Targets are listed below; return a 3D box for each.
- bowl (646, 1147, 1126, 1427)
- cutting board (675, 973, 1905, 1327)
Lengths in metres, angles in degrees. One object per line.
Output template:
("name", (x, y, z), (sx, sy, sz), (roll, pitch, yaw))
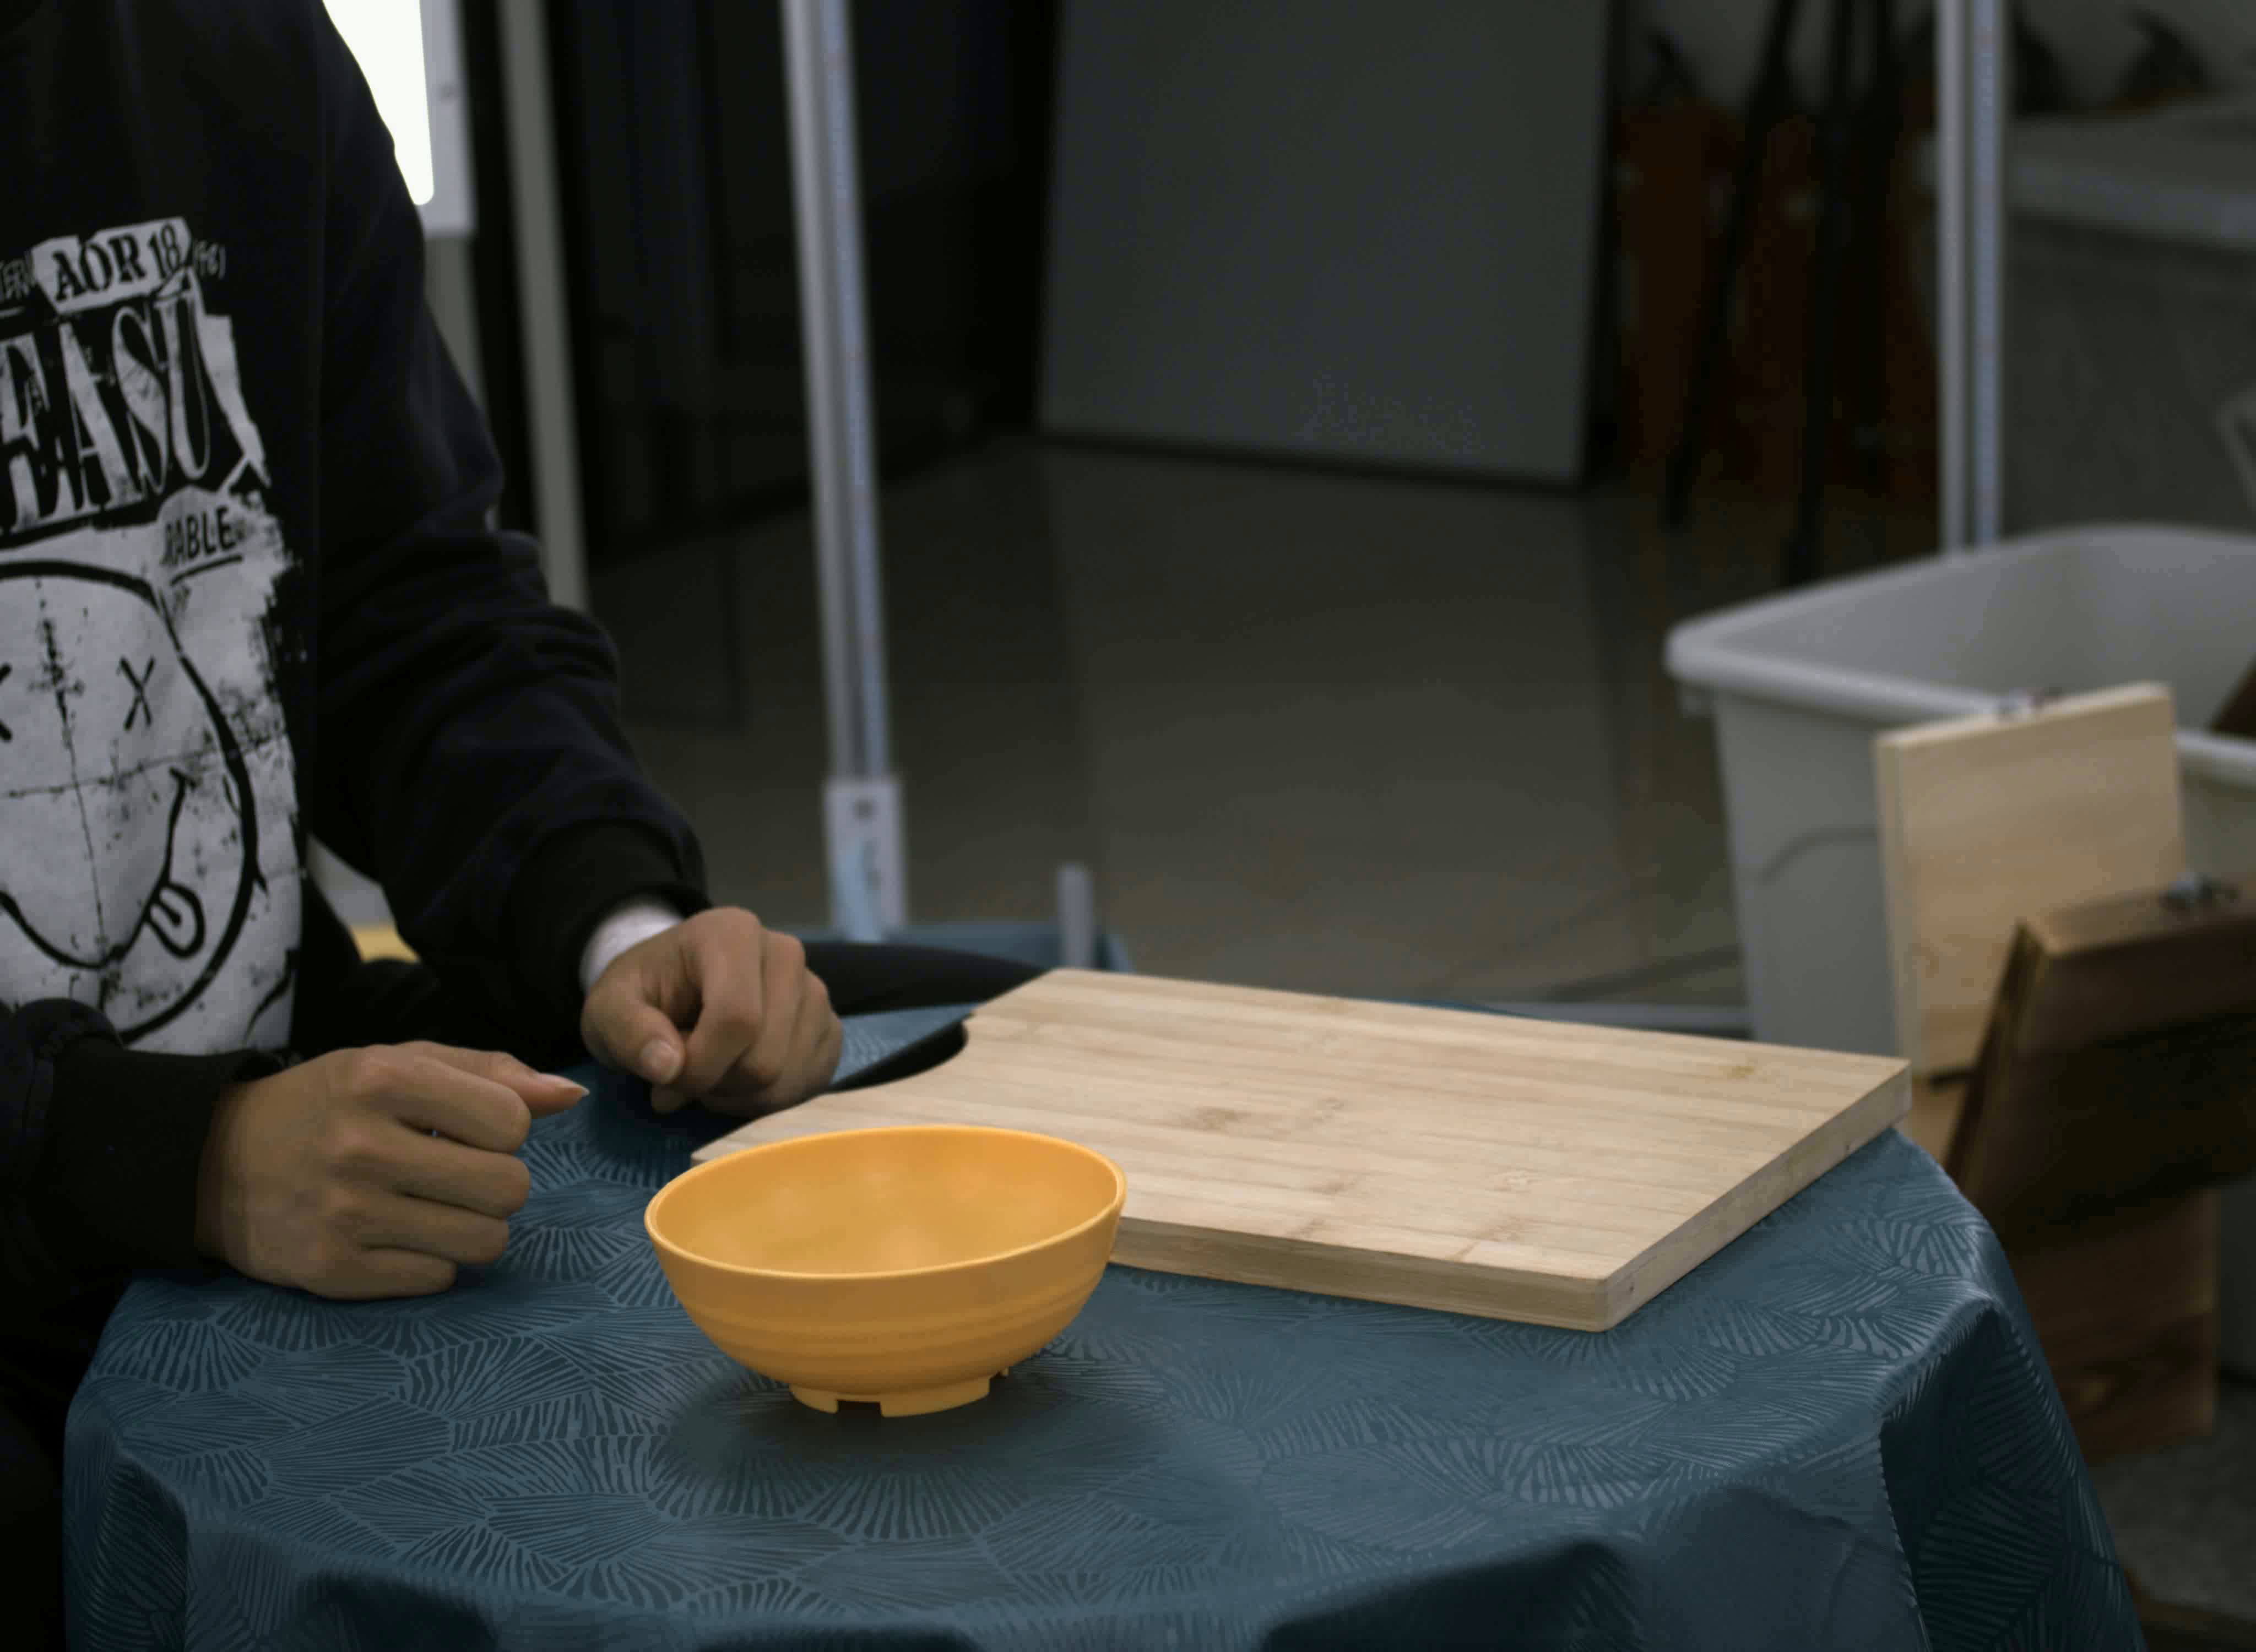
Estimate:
("bowl", (-0.070, 0.140, 1.600), (0.143, 0.061, 0.145), (-4, 11, 0))
("cutting board", (0.055, 0.103, 1.795), (0.350, 0.024, 0.247), (4, 16, 31))
